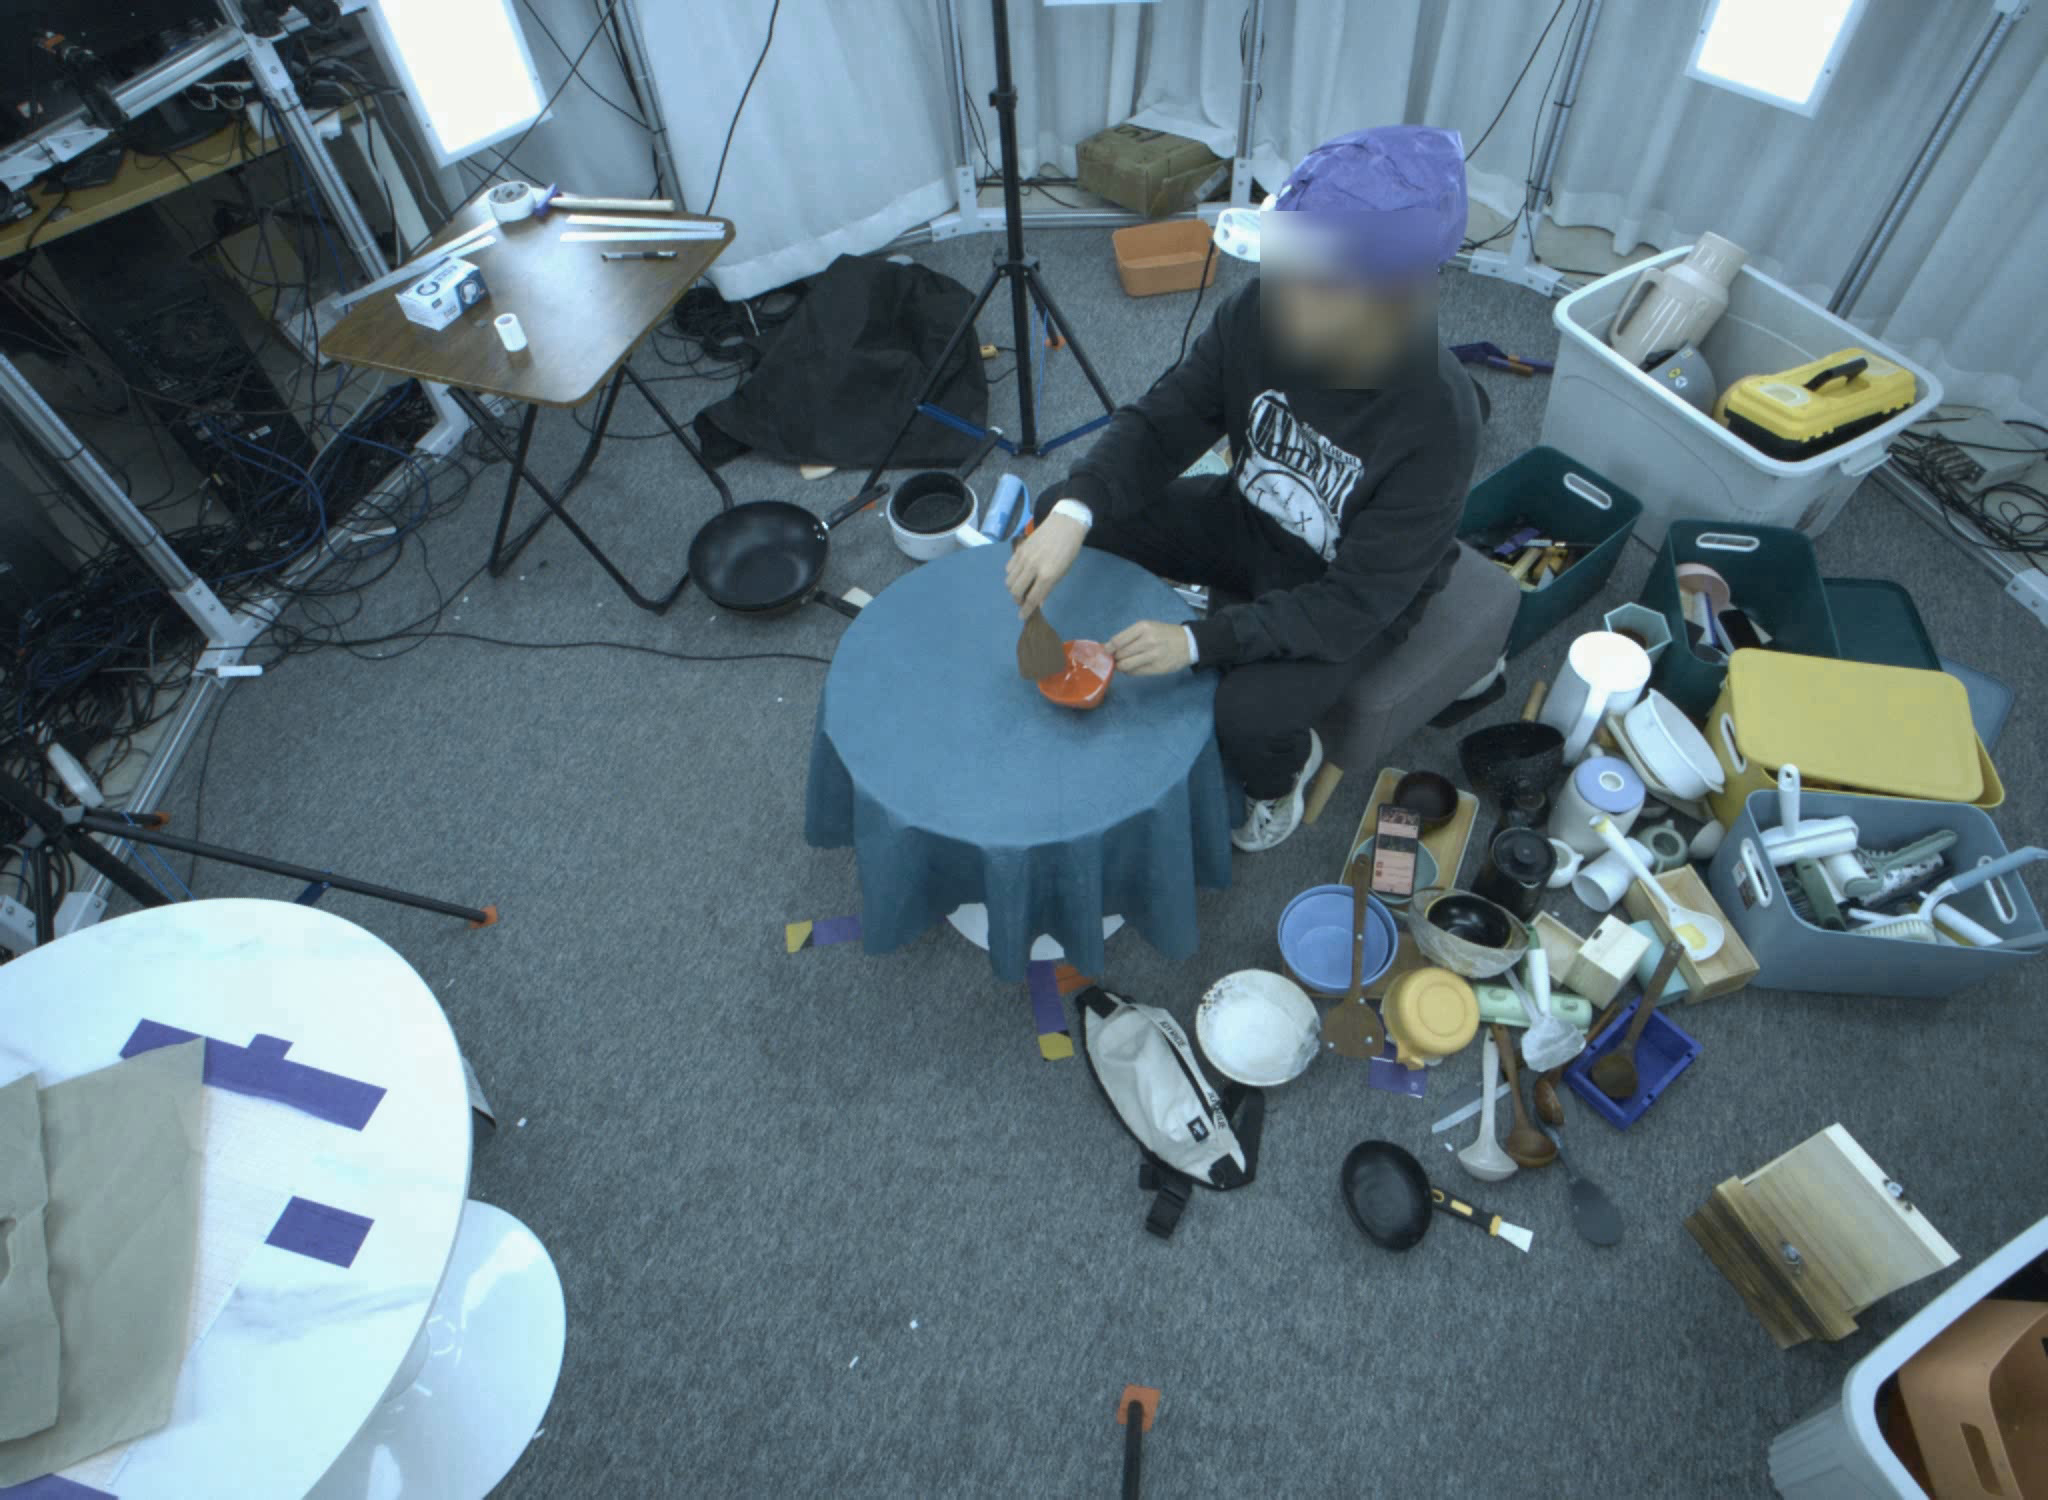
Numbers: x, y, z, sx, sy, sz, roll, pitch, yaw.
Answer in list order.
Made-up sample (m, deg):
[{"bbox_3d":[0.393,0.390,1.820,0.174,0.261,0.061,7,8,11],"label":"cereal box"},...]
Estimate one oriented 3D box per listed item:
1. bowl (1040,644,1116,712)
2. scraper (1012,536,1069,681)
[{"bbox_3d":[0.086,-0.099,1.824,0.118,0.052,0.118,-11,54,16],"label":"bowl"},{"bbox_3d":[0.013,-0.207,1.795,0.076,0.010,0.212,-12,99,-13],"label":"scraper"}]
